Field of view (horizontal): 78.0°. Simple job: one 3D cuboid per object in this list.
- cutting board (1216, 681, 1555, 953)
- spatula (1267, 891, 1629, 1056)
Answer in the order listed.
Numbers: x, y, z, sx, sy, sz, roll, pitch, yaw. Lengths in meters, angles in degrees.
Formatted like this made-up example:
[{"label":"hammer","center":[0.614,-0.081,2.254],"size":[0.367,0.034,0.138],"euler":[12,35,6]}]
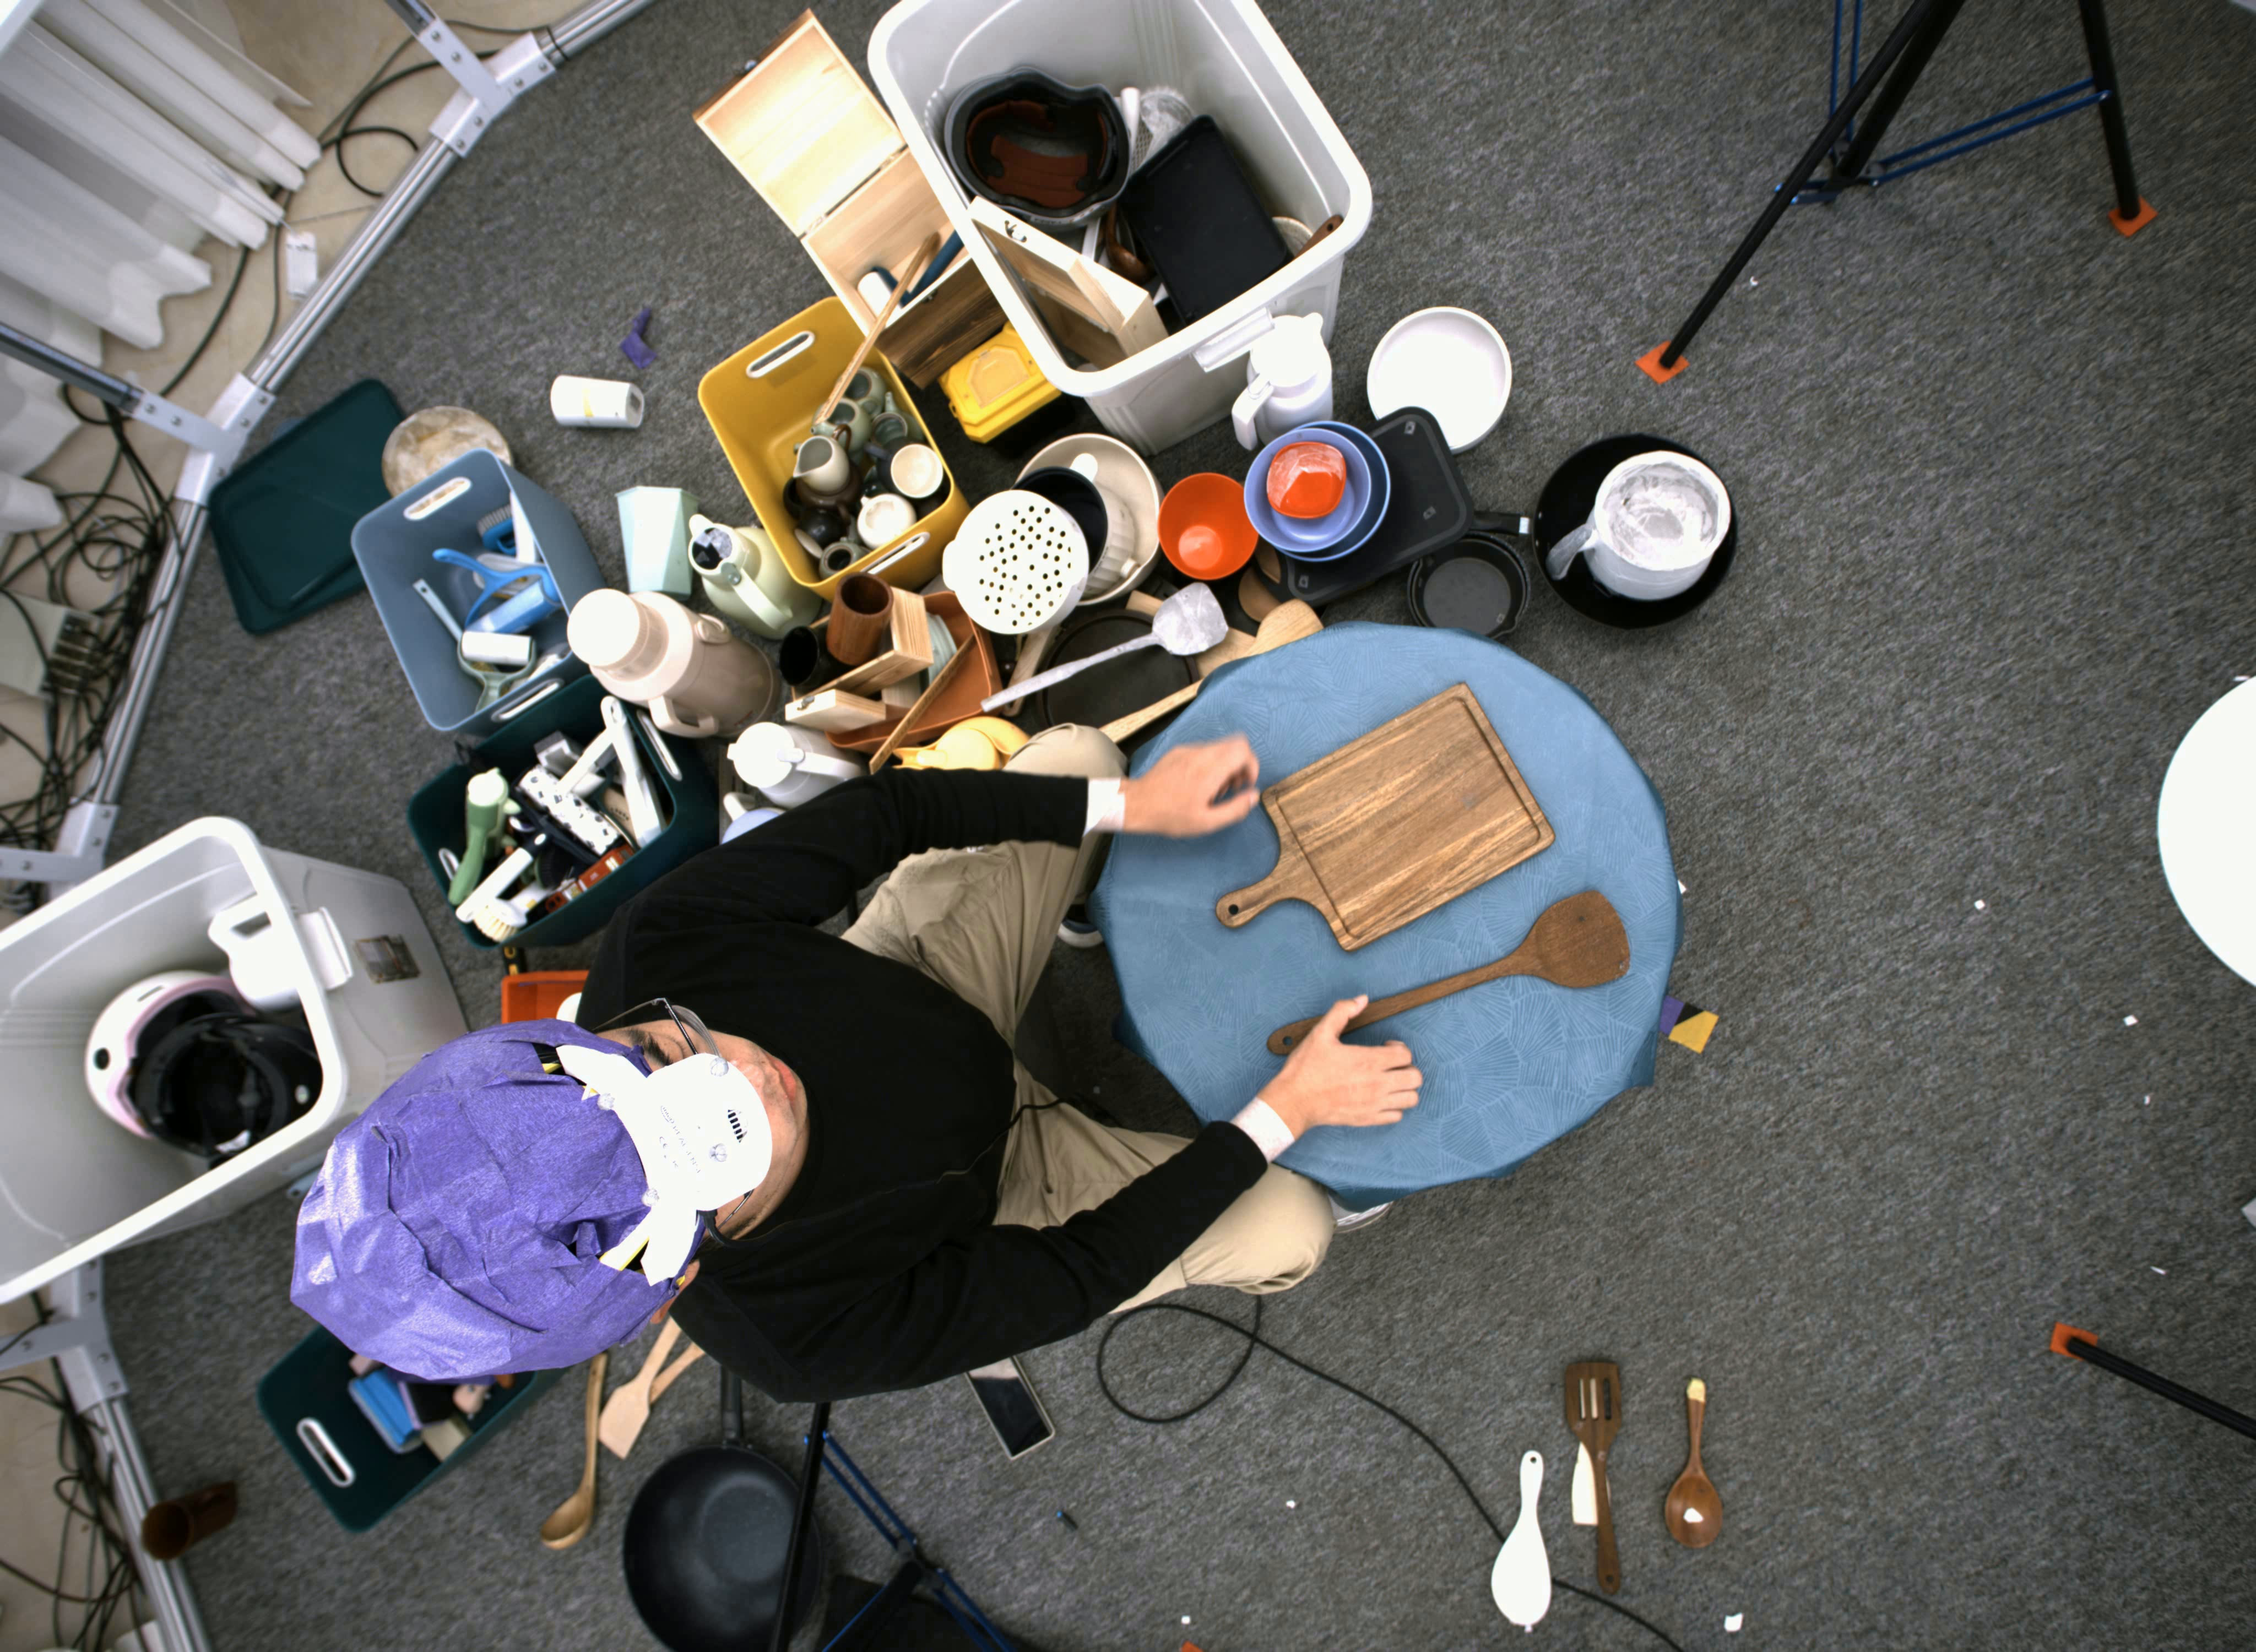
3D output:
[{"label":"cutting board","center":[0.248,0.013,1.457],"size":[0.354,0.023,0.200],"euler":[-30,82,8]},{"label":"spatula","center":[0.328,0.168,1.436],"size":[0.388,0.016,0.095],"euler":[-20,83,9]}]
